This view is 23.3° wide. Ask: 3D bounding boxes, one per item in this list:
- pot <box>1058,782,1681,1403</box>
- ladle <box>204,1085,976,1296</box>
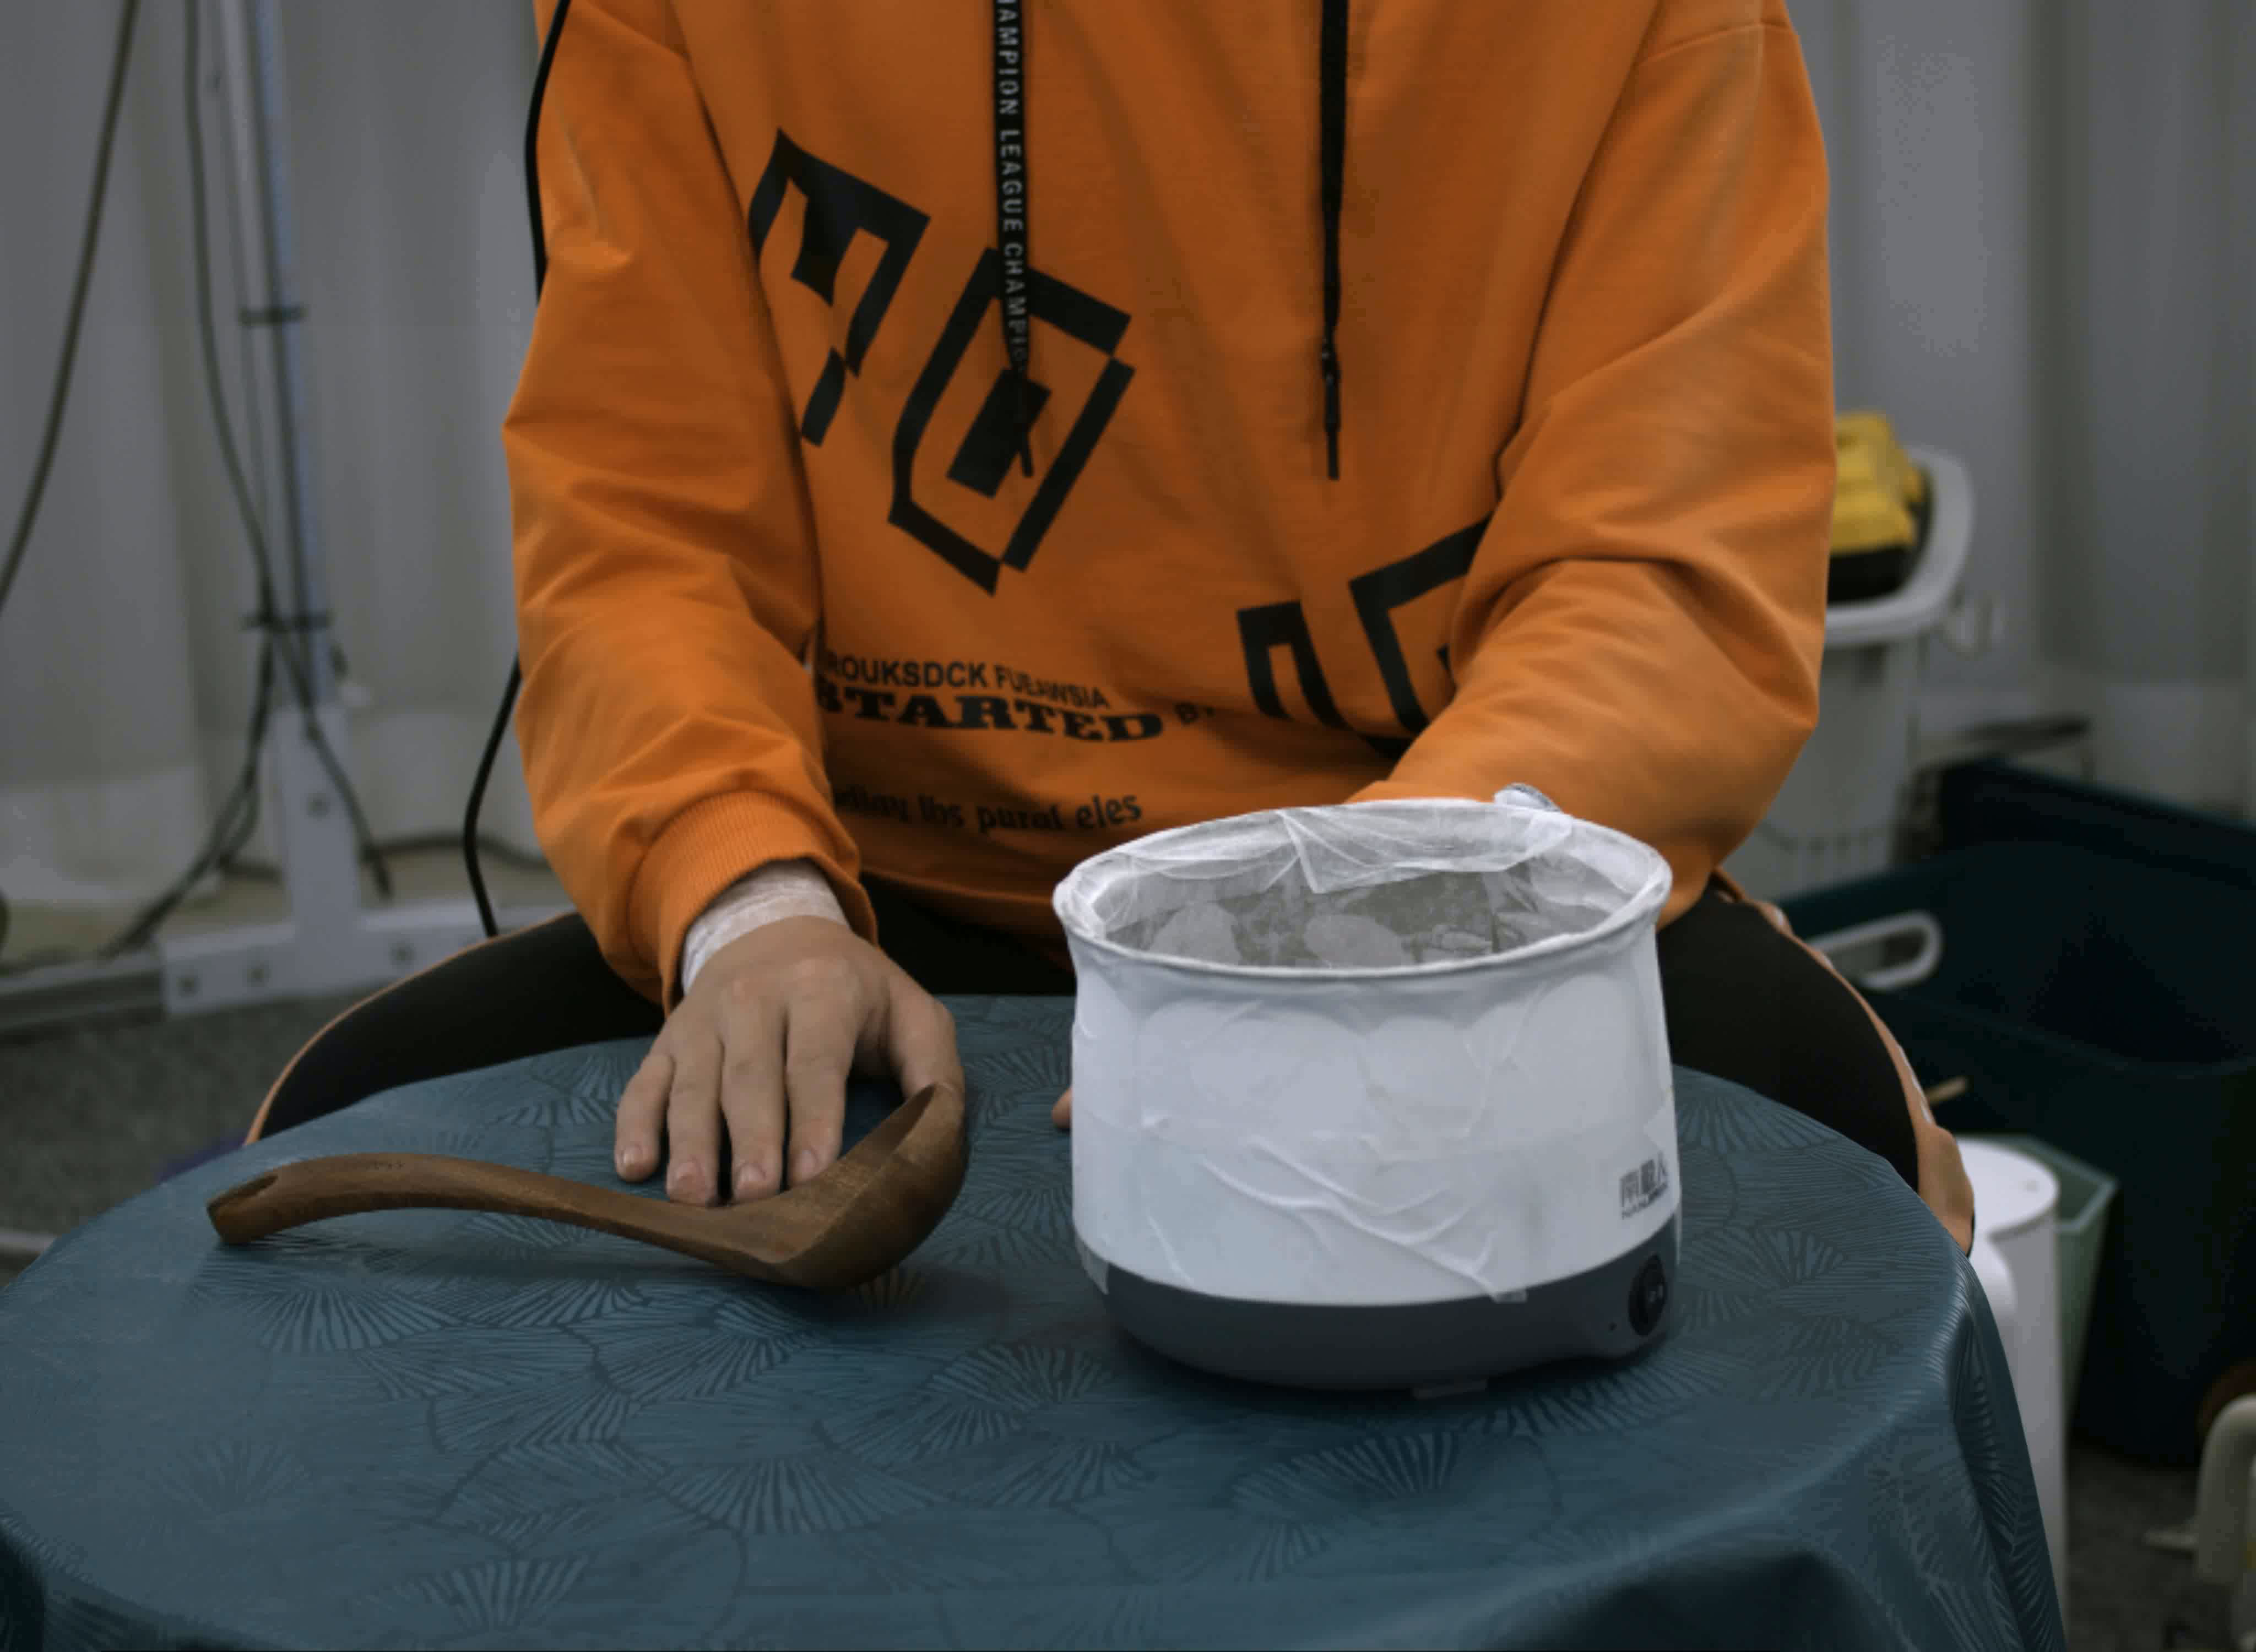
[{"bbox_3d":[0.084,0.071,1.600,0.179,0.136,0.234,6,17,29],"label":"pot"},{"bbox_3d":[-0.168,0.105,1.663,0.260,0.064,0.077,3,23,20],"label":"ladle"}]
